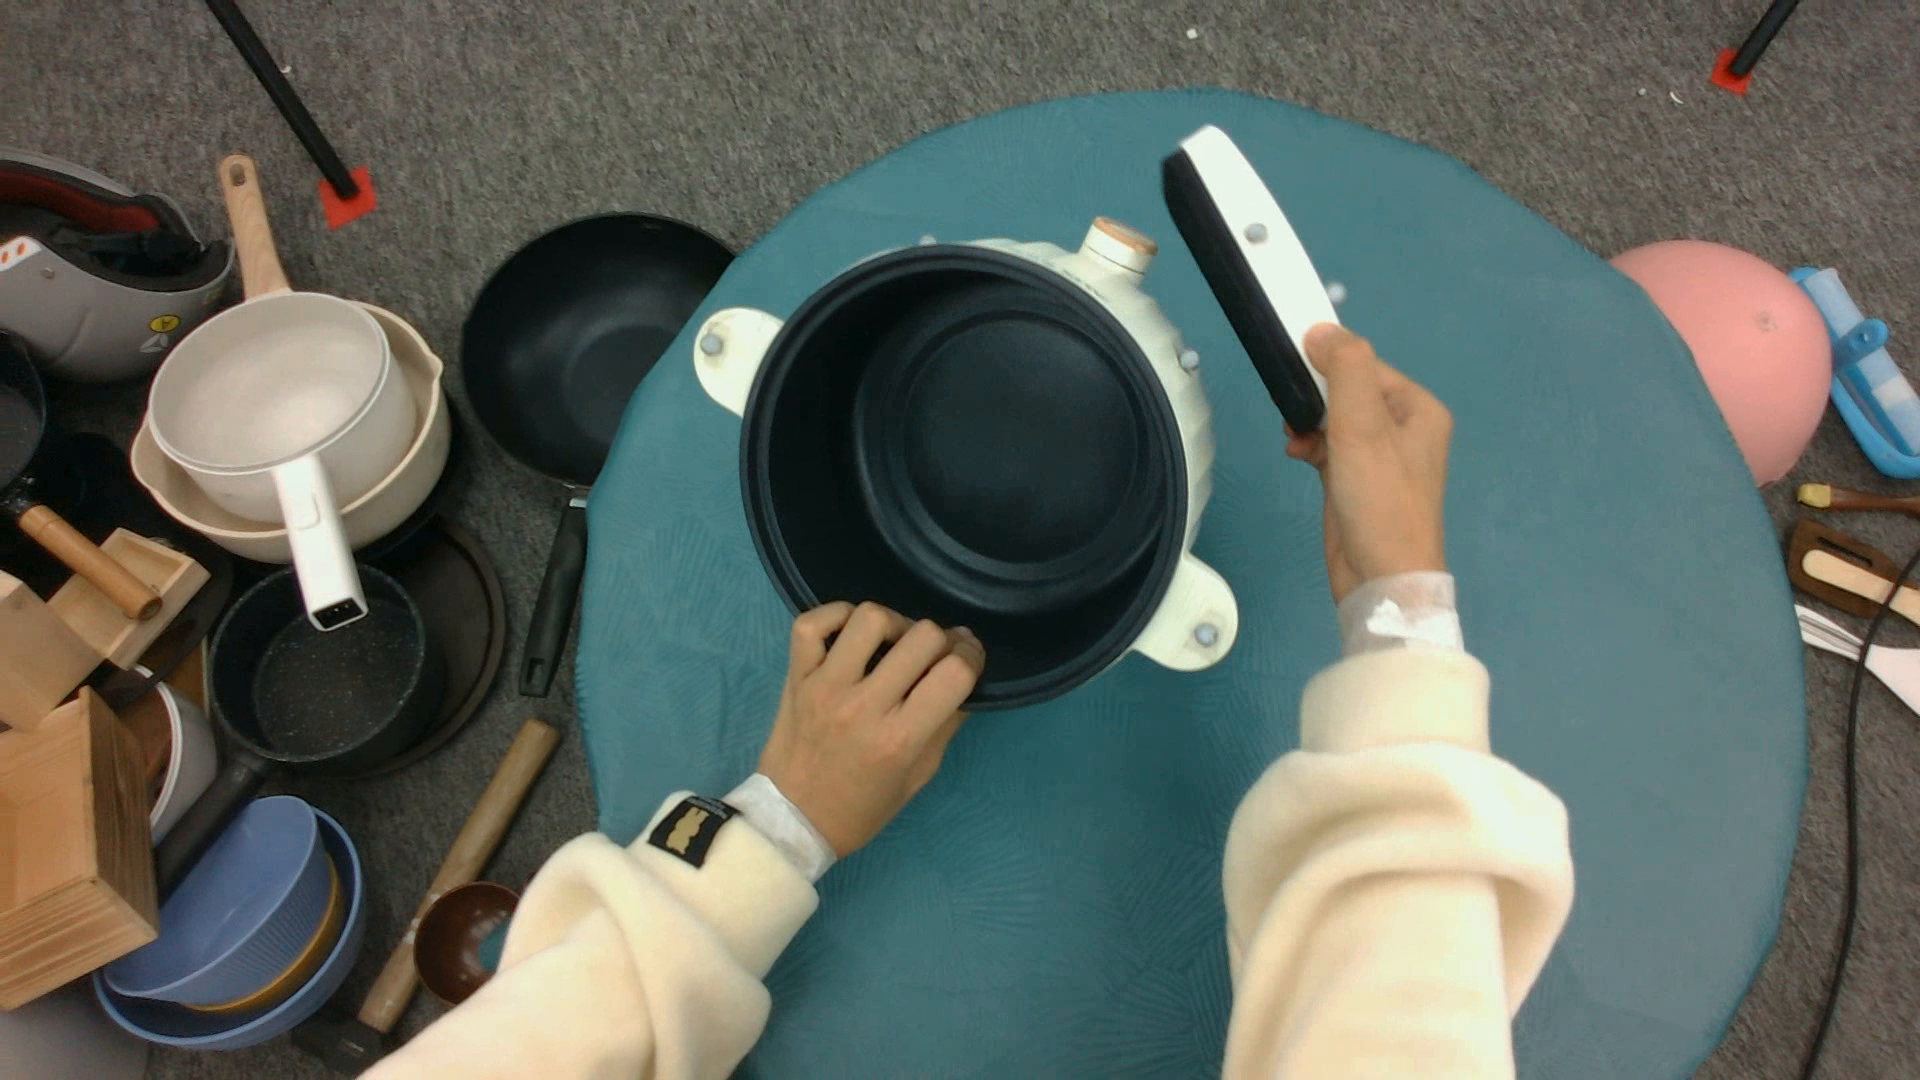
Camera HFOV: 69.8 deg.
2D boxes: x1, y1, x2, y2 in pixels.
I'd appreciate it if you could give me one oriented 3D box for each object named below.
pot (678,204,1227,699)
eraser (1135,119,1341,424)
[{"bbox_3d":[0.013,-0.046,0.585,0.240,0.143,0.189,28,115,8],"label":"pot"},{"bbox_3d":[0.117,-0.111,0.567,0.034,0.063,0.131,-30,79,8],"label":"eraser"}]
